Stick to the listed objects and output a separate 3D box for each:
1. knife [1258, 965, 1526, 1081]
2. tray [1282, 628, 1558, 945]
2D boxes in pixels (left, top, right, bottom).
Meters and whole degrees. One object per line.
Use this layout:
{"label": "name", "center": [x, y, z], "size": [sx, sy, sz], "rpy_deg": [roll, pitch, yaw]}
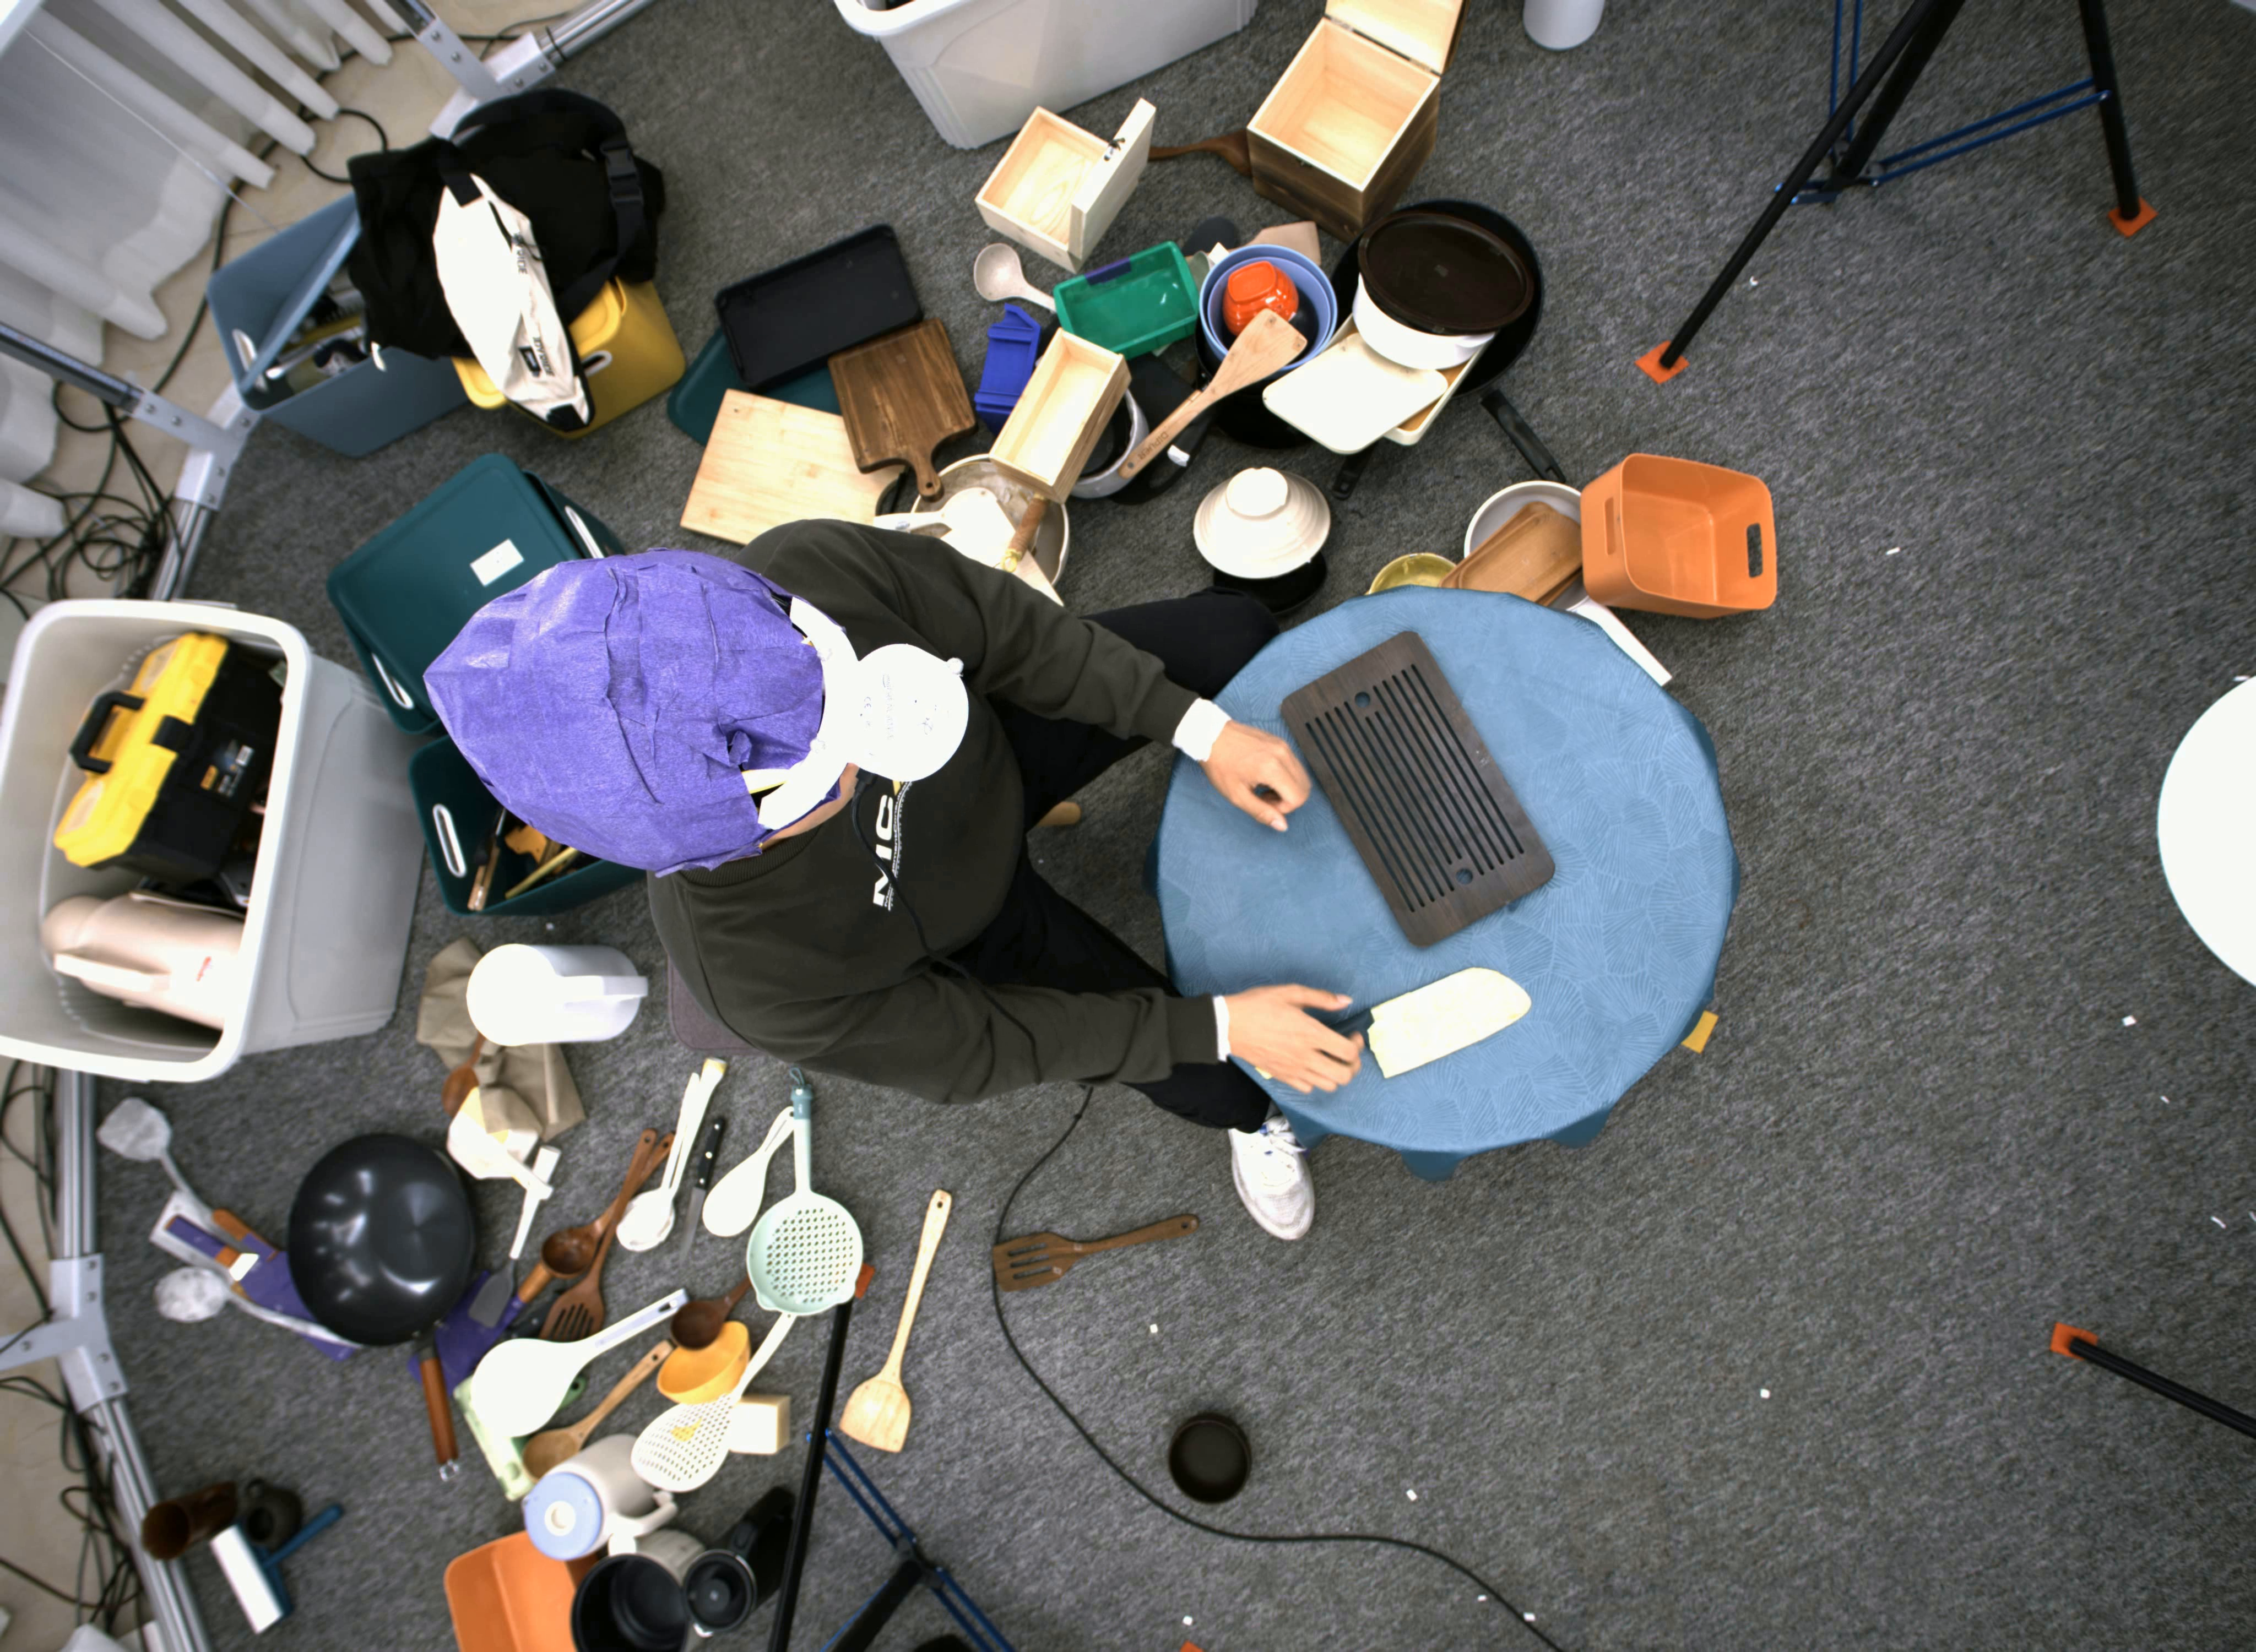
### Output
{"label": "knife", "center": [0.277, 0.217, 1.443], "size": [0.291, 0.027, 0.080], "rpy_deg": [-21, 81, 8]}
{"label": "tray", "center": [0.305, -0.045, 1.451], "size": [0.171, 0.018, 0.304], "rpy_deg": [-29, 82, 8]}
